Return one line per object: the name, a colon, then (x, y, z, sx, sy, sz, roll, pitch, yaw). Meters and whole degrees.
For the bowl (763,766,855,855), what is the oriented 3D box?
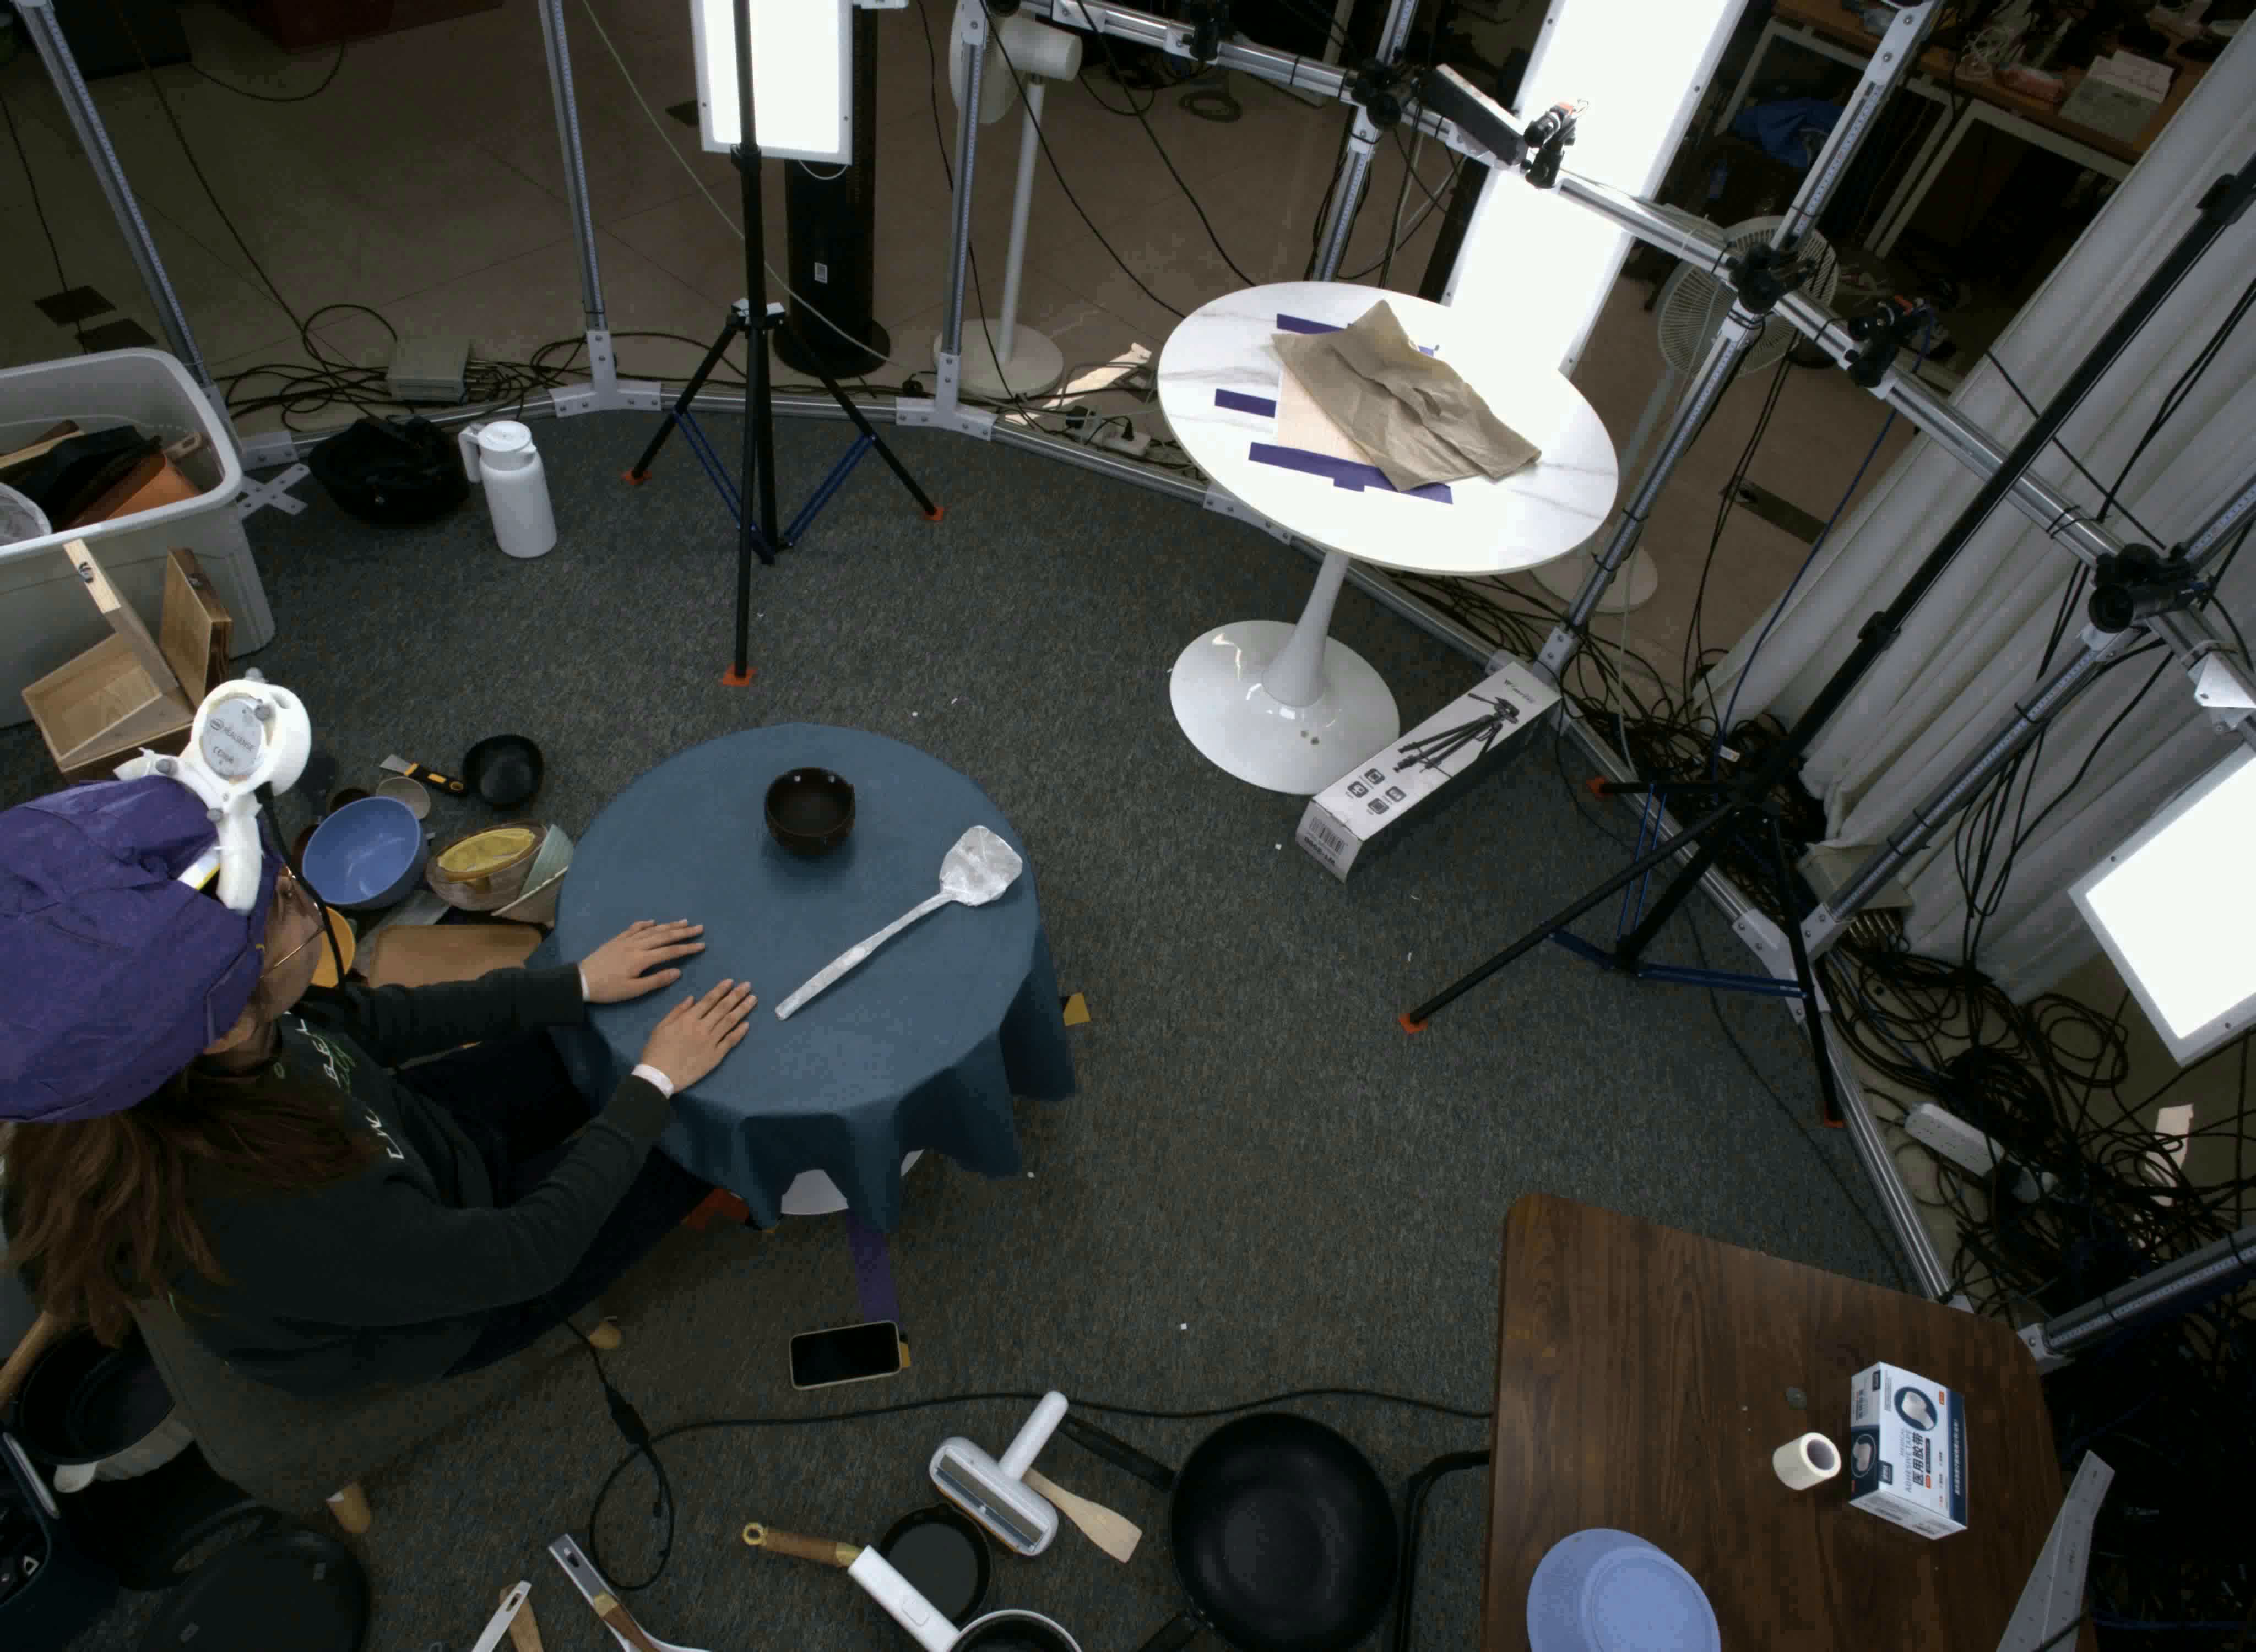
bowl: (-0.416, -0.014, 1.695, 0.117, 0.071, 0.116, 6, 52, -6)

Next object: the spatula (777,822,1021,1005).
spatula: (-0.291, 0.117, 1.651, 0.097, 0.045, 0.366, 43, 55, 16)
